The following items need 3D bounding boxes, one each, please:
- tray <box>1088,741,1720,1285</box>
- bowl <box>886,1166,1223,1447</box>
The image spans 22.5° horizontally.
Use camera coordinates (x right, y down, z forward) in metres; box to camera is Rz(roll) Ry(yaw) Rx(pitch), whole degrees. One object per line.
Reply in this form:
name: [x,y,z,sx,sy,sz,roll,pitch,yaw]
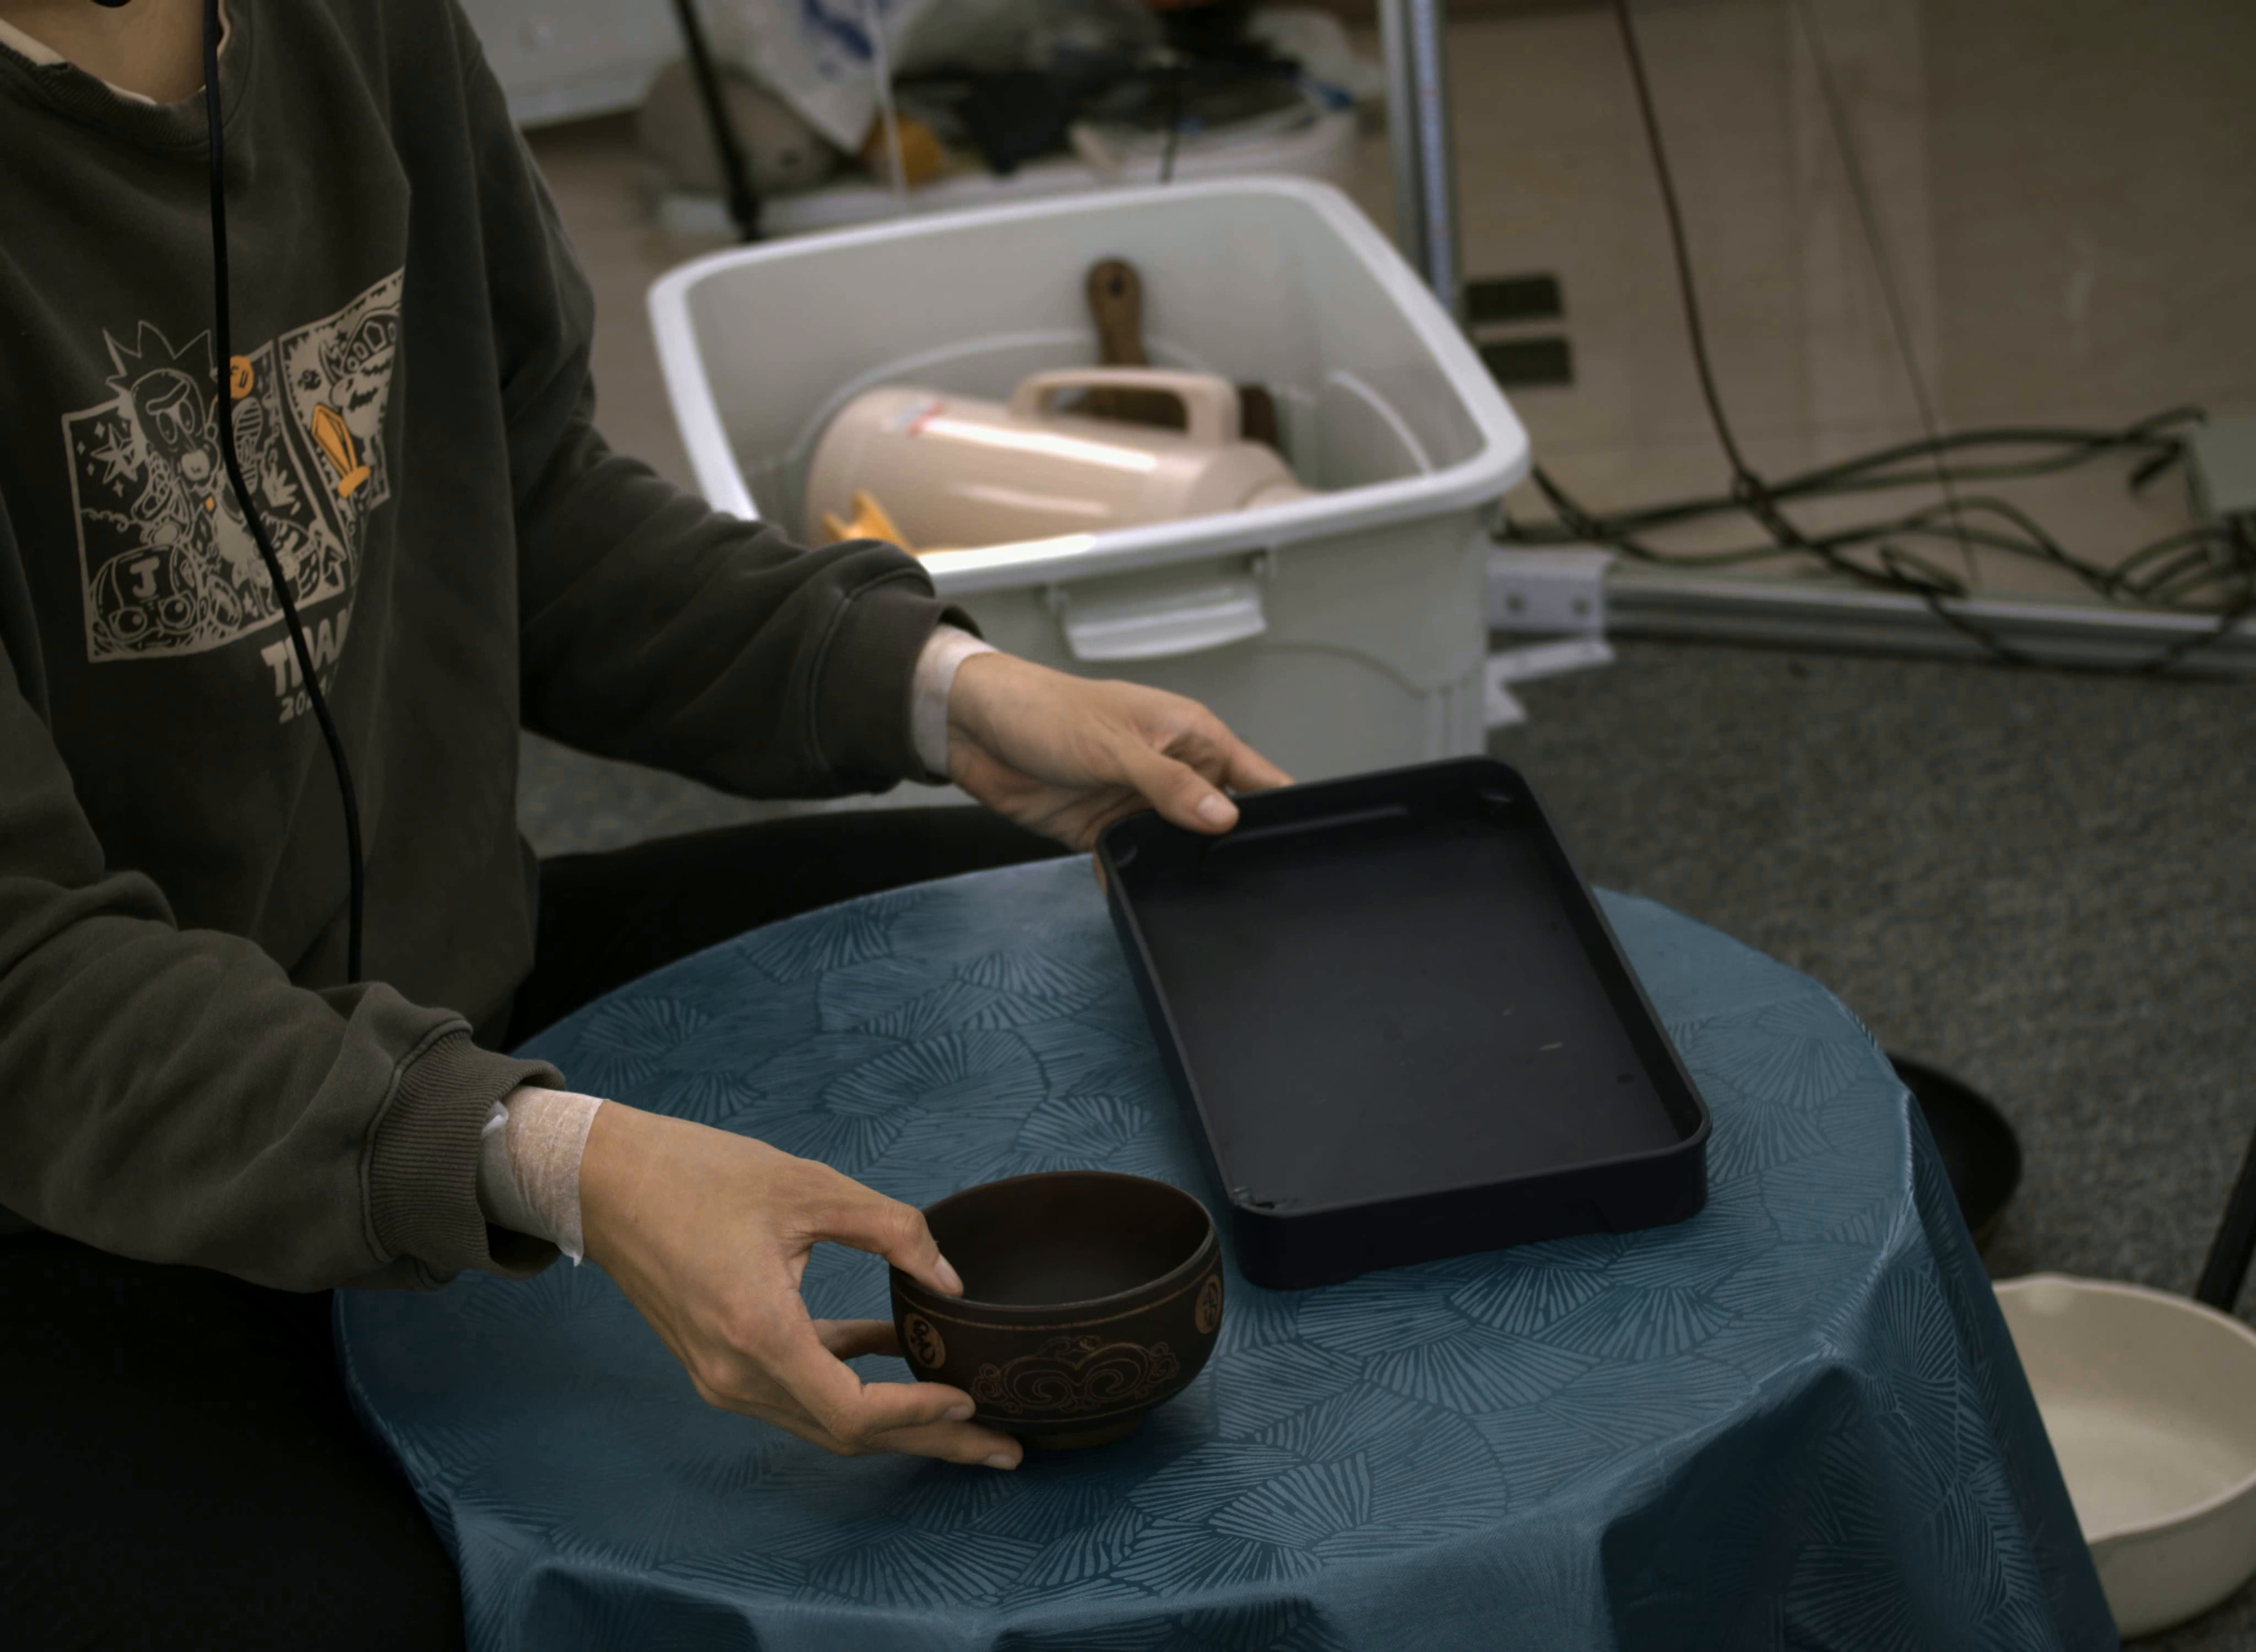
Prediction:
tray: [0.102,0.067,2.202,0.184,0.038,0.313,-11,31,-7]
bowl: [-0.024,0.174,1.988,0.118,0.071,0.116,-6,22,2]
